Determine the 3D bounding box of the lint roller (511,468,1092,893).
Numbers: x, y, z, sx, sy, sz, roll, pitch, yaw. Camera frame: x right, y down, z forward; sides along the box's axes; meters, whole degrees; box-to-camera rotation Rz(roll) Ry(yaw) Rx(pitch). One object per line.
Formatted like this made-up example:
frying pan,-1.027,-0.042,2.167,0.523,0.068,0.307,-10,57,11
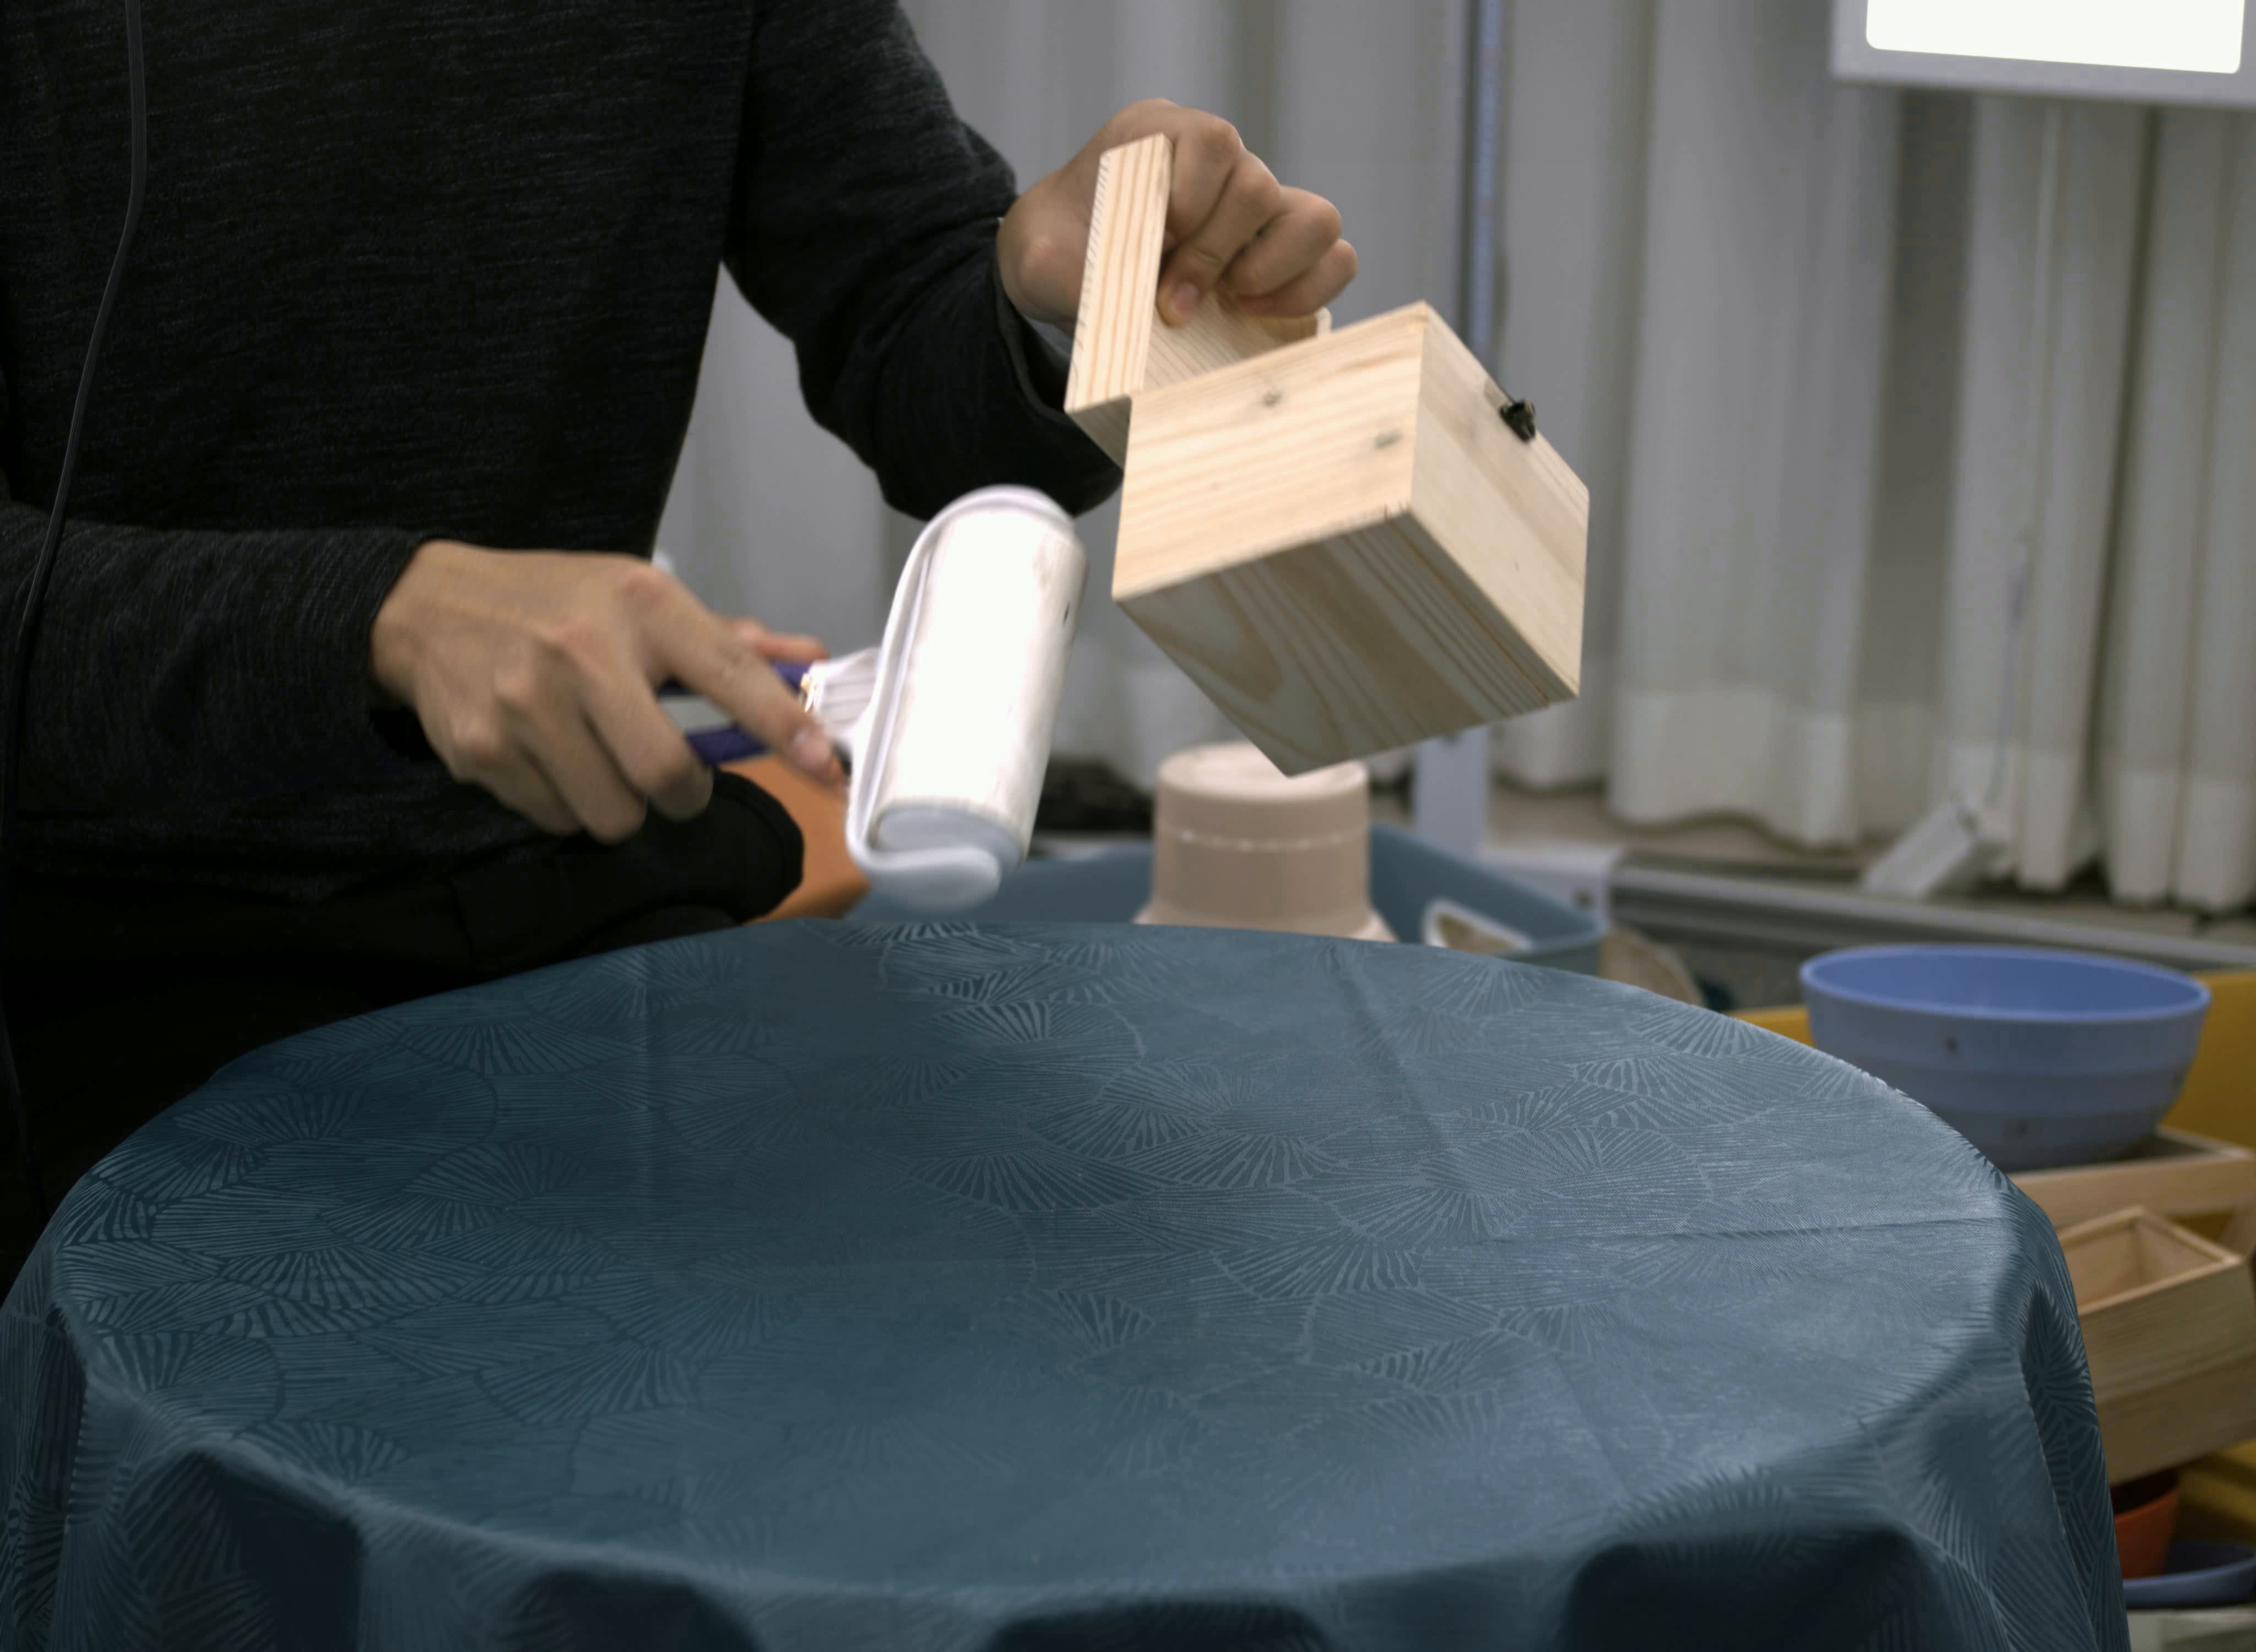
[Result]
lint roller,-0.103,-0.045,1.543,0.179,0.051,0.132,3,61,17

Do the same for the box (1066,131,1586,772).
box,0.063,-0.126,1.583,0.133,0.104,0.183,-16,50,27
